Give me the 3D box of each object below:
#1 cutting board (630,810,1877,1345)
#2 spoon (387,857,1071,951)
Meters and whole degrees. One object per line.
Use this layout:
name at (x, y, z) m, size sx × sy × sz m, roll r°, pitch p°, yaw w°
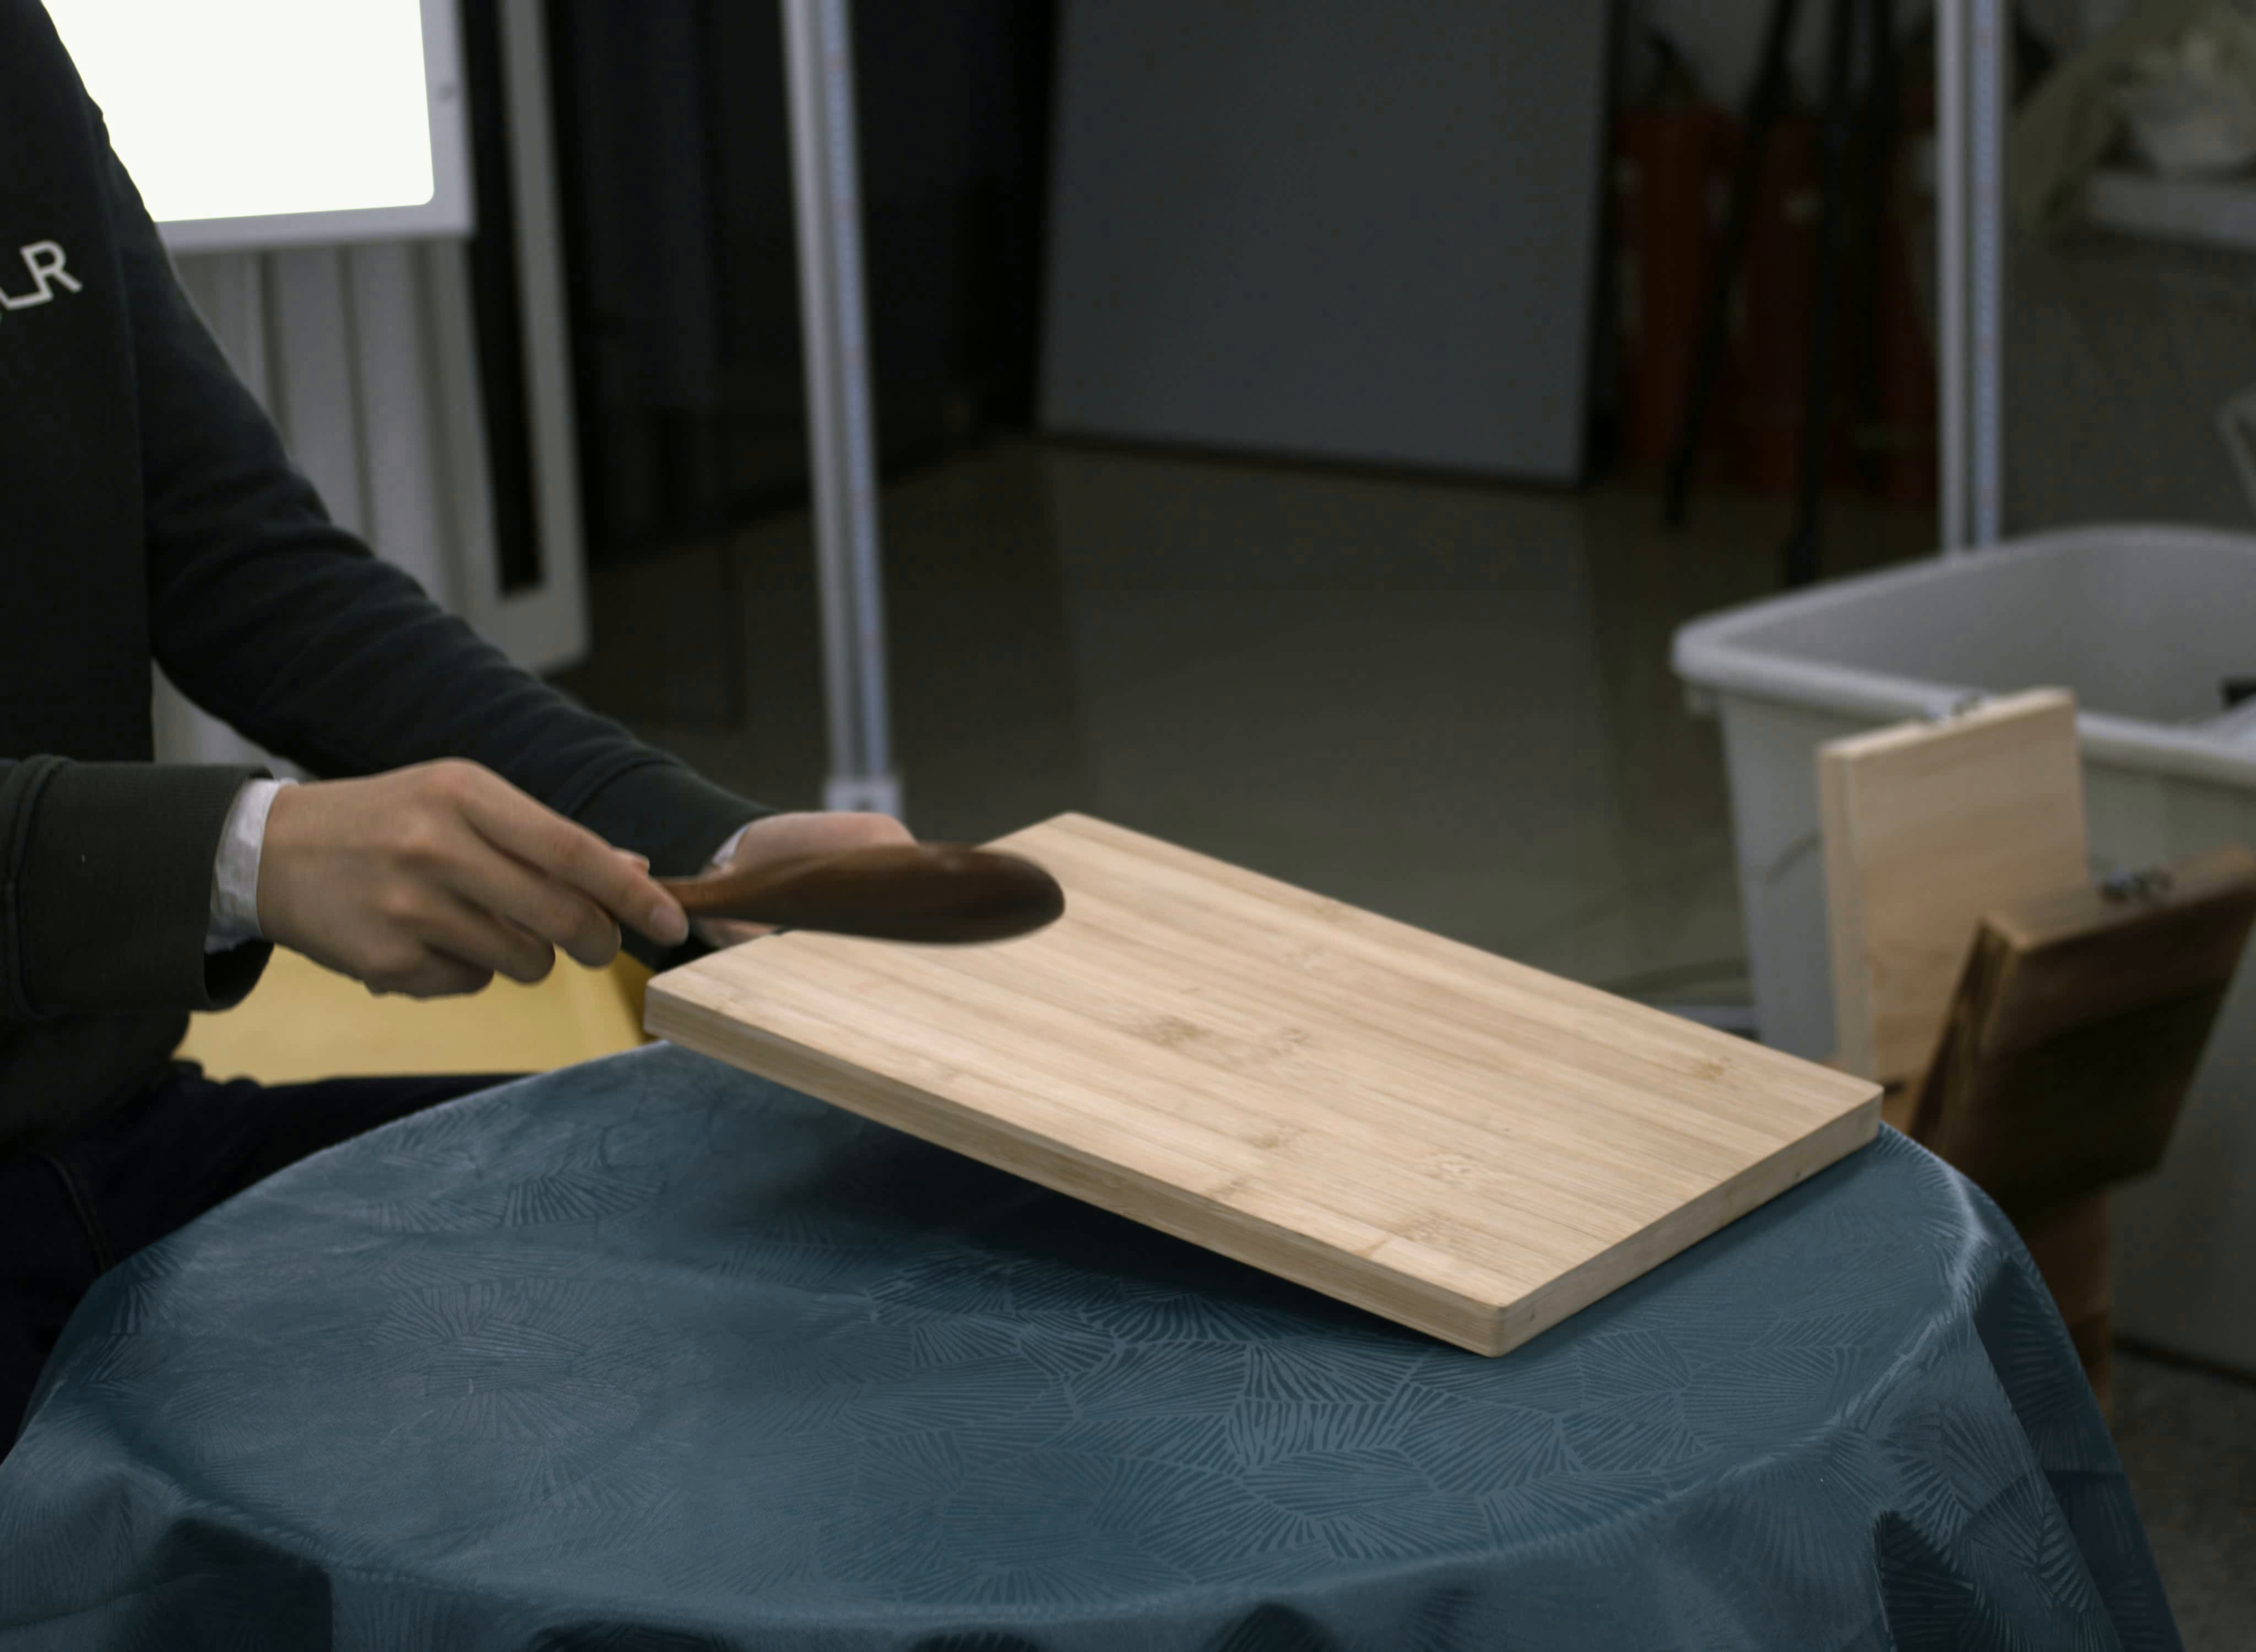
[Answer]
cutting board at (0.041, 0.076, 1.776) m, size 0.351 × 0.024 × 0.246 m, roll 18°, pitch 23°, yaw 32°
spoon at (-0.120, 0.024, 1.604) m, size 0.215 × 0.017 × 0.075 m, roll 0°, pitch -15°, yaw 19°
